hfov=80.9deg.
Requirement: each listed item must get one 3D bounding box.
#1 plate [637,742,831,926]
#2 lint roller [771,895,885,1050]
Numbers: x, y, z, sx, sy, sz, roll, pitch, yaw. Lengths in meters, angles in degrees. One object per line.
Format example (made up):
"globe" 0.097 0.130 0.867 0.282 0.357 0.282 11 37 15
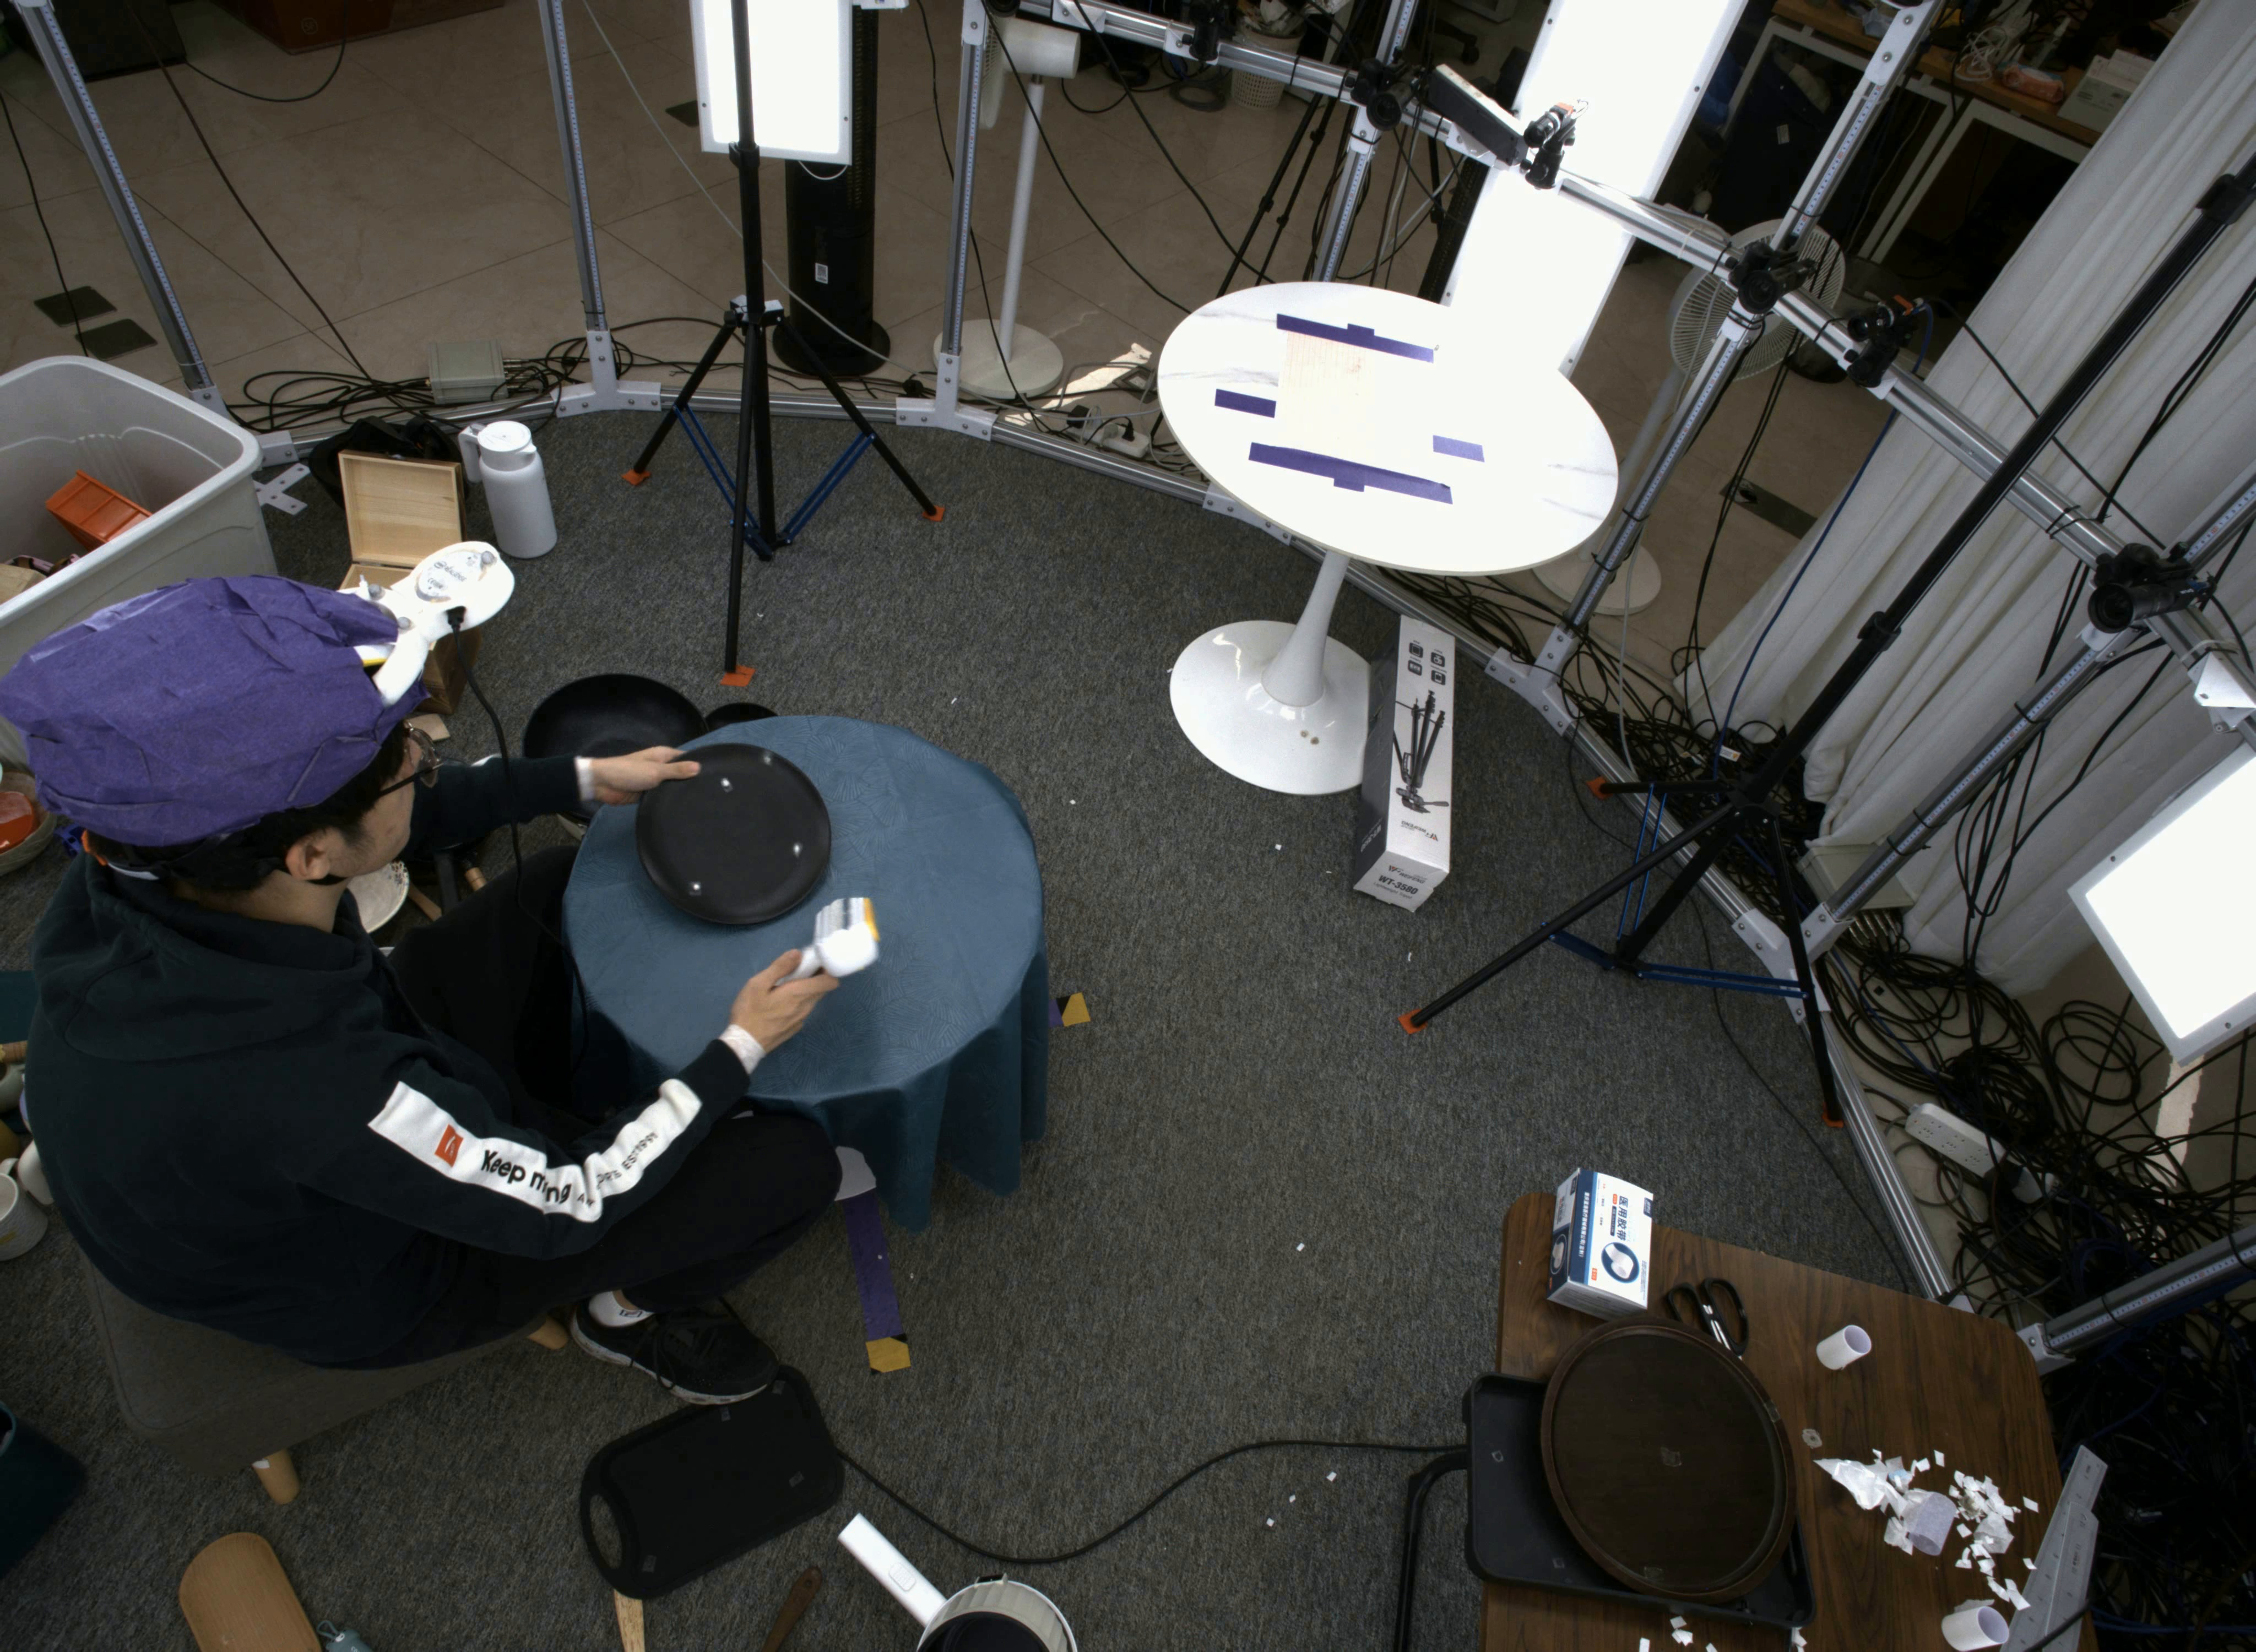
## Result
"plate" -0.501 0.010 1.647 0.247 0.023 0.243 10 69 -23
"lint roller" -0.358 0.174 1.509 0.192 0.188 0.076 -43 108 3
